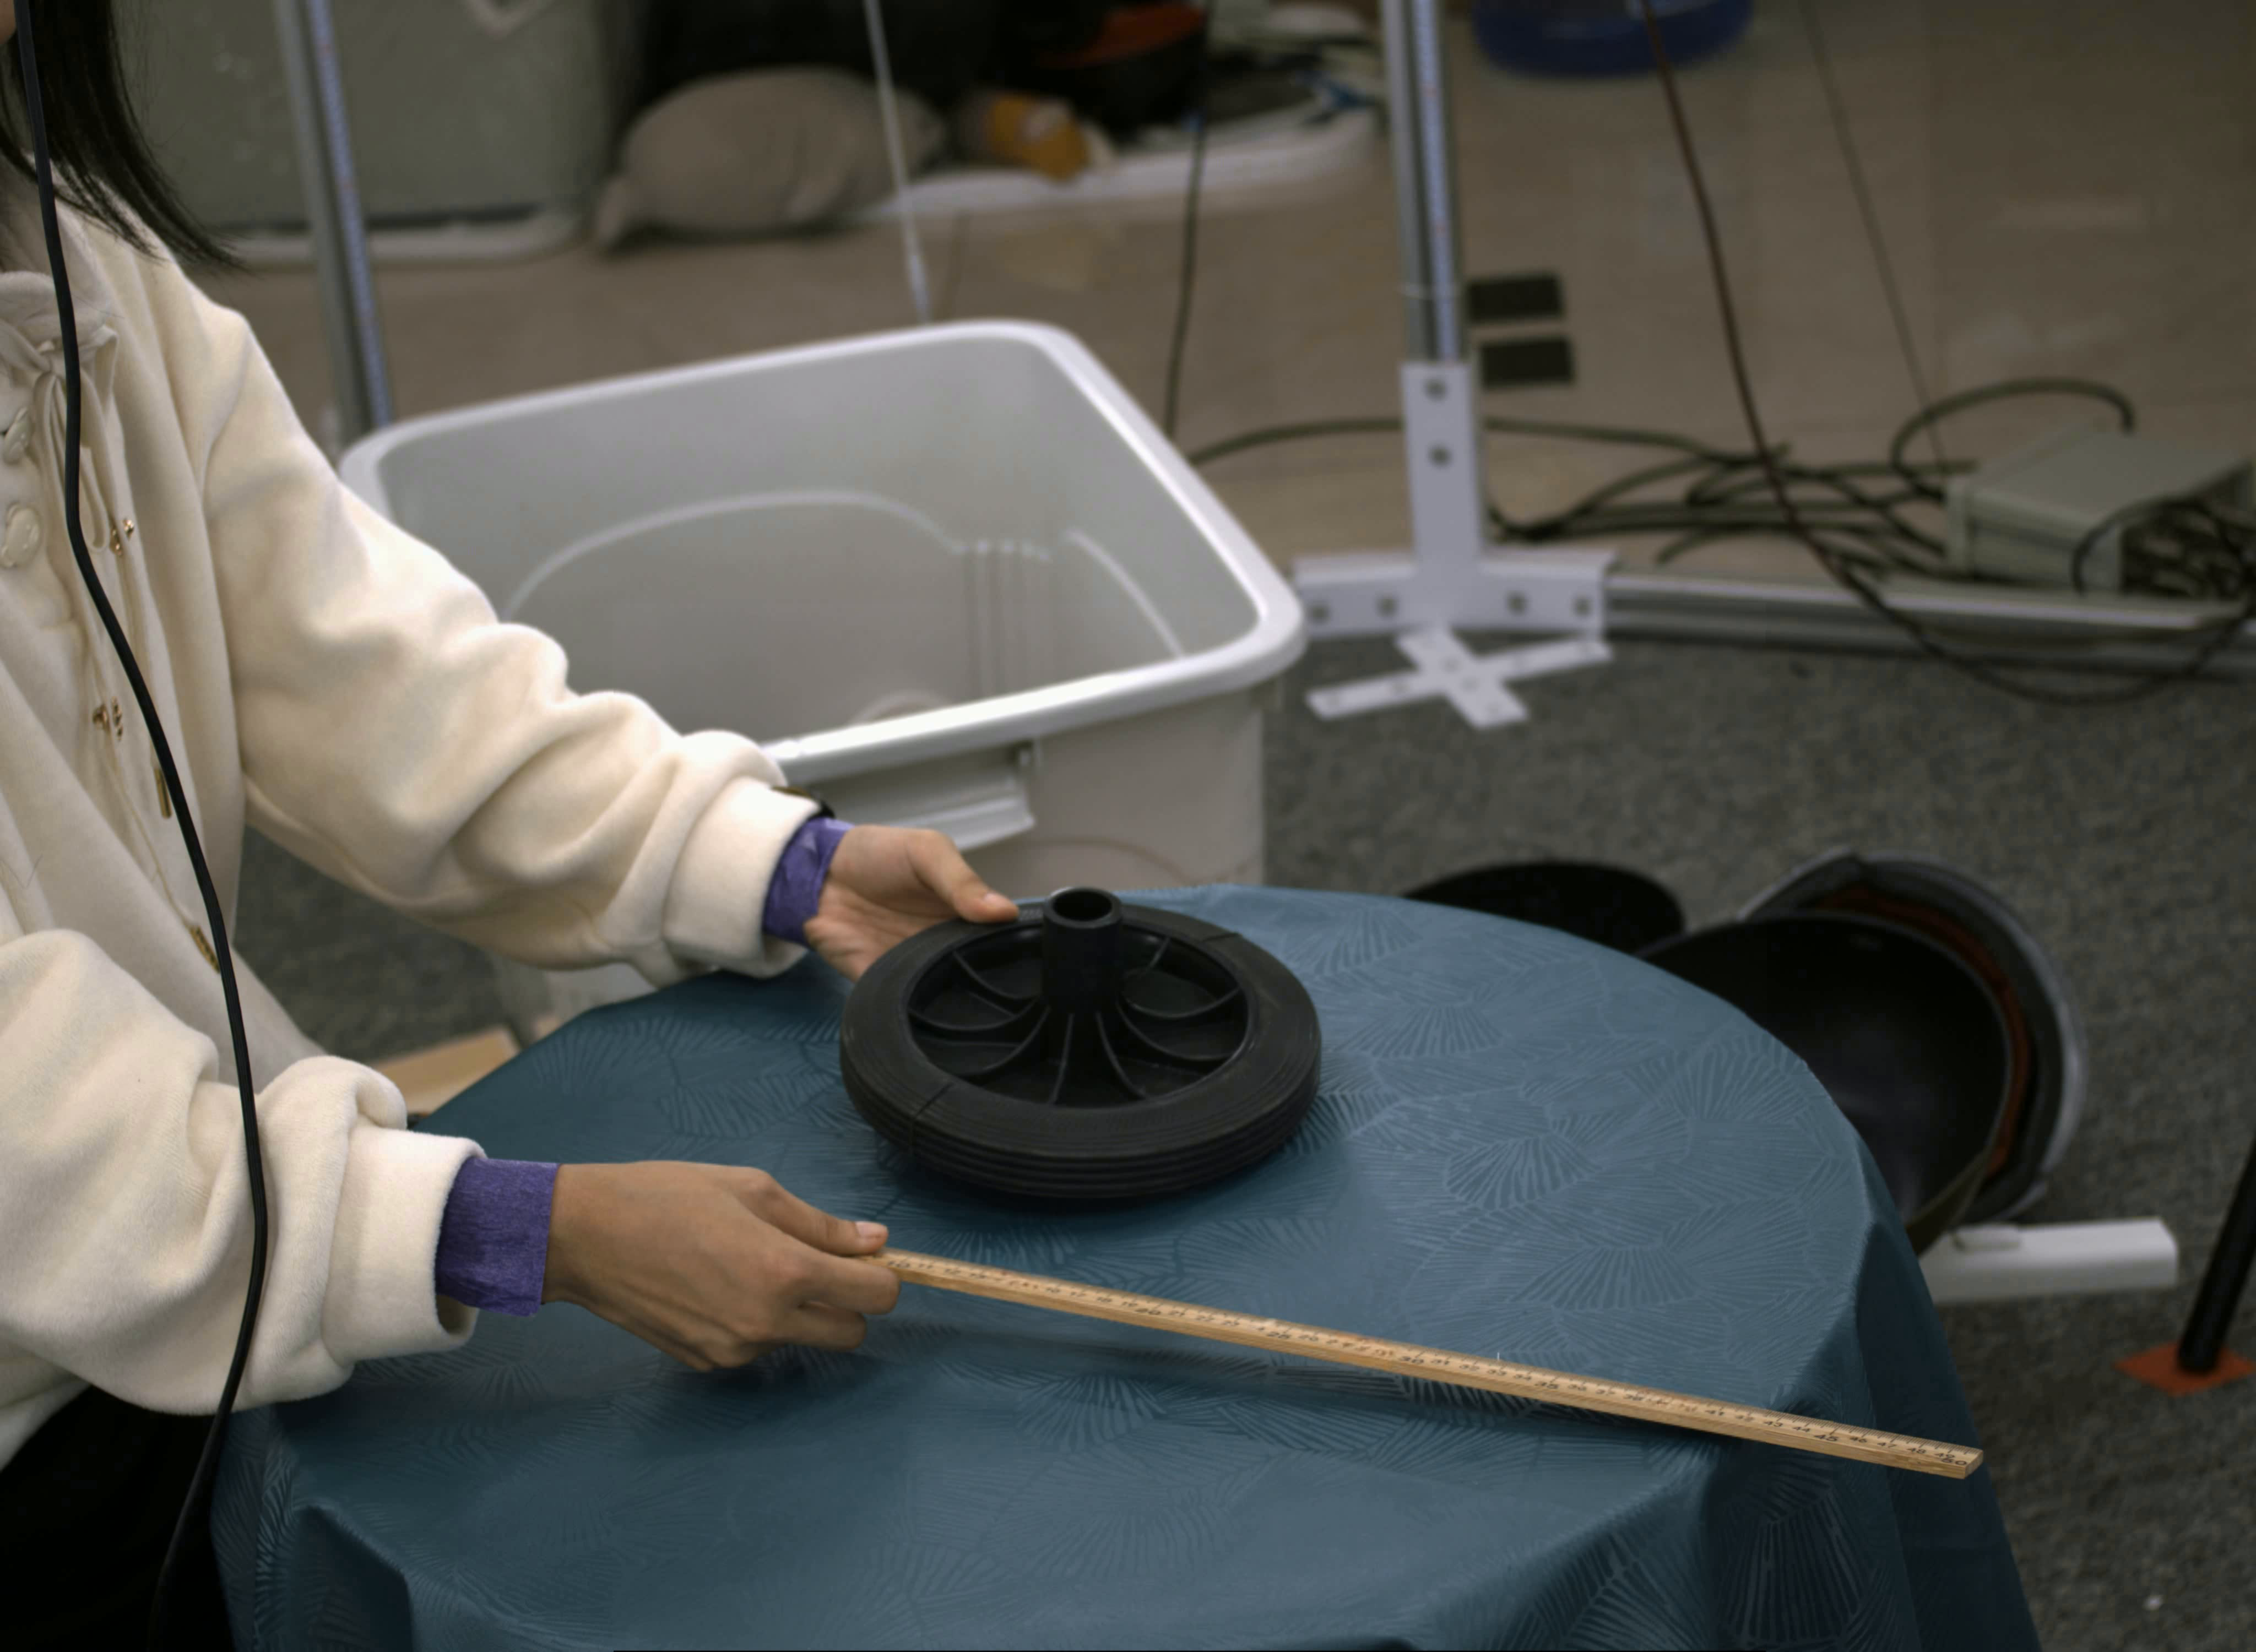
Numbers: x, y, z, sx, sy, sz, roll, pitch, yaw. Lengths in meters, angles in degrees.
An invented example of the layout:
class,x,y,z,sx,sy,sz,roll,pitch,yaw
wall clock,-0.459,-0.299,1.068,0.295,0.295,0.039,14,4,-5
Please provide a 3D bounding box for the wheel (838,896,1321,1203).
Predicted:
class,x,y,z,sx,sy,sz,roll,pitch,yaw
wheel,-0.018,0.068,2.190,0.187,0.080,0.187,-5,31,-10

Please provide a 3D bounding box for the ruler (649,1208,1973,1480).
class,x,y,z,sx,sy,sz,roll,pitch,yaw
ruler,0.054,0.181,2.007,0.498,0.006,0.026,9,13,23
